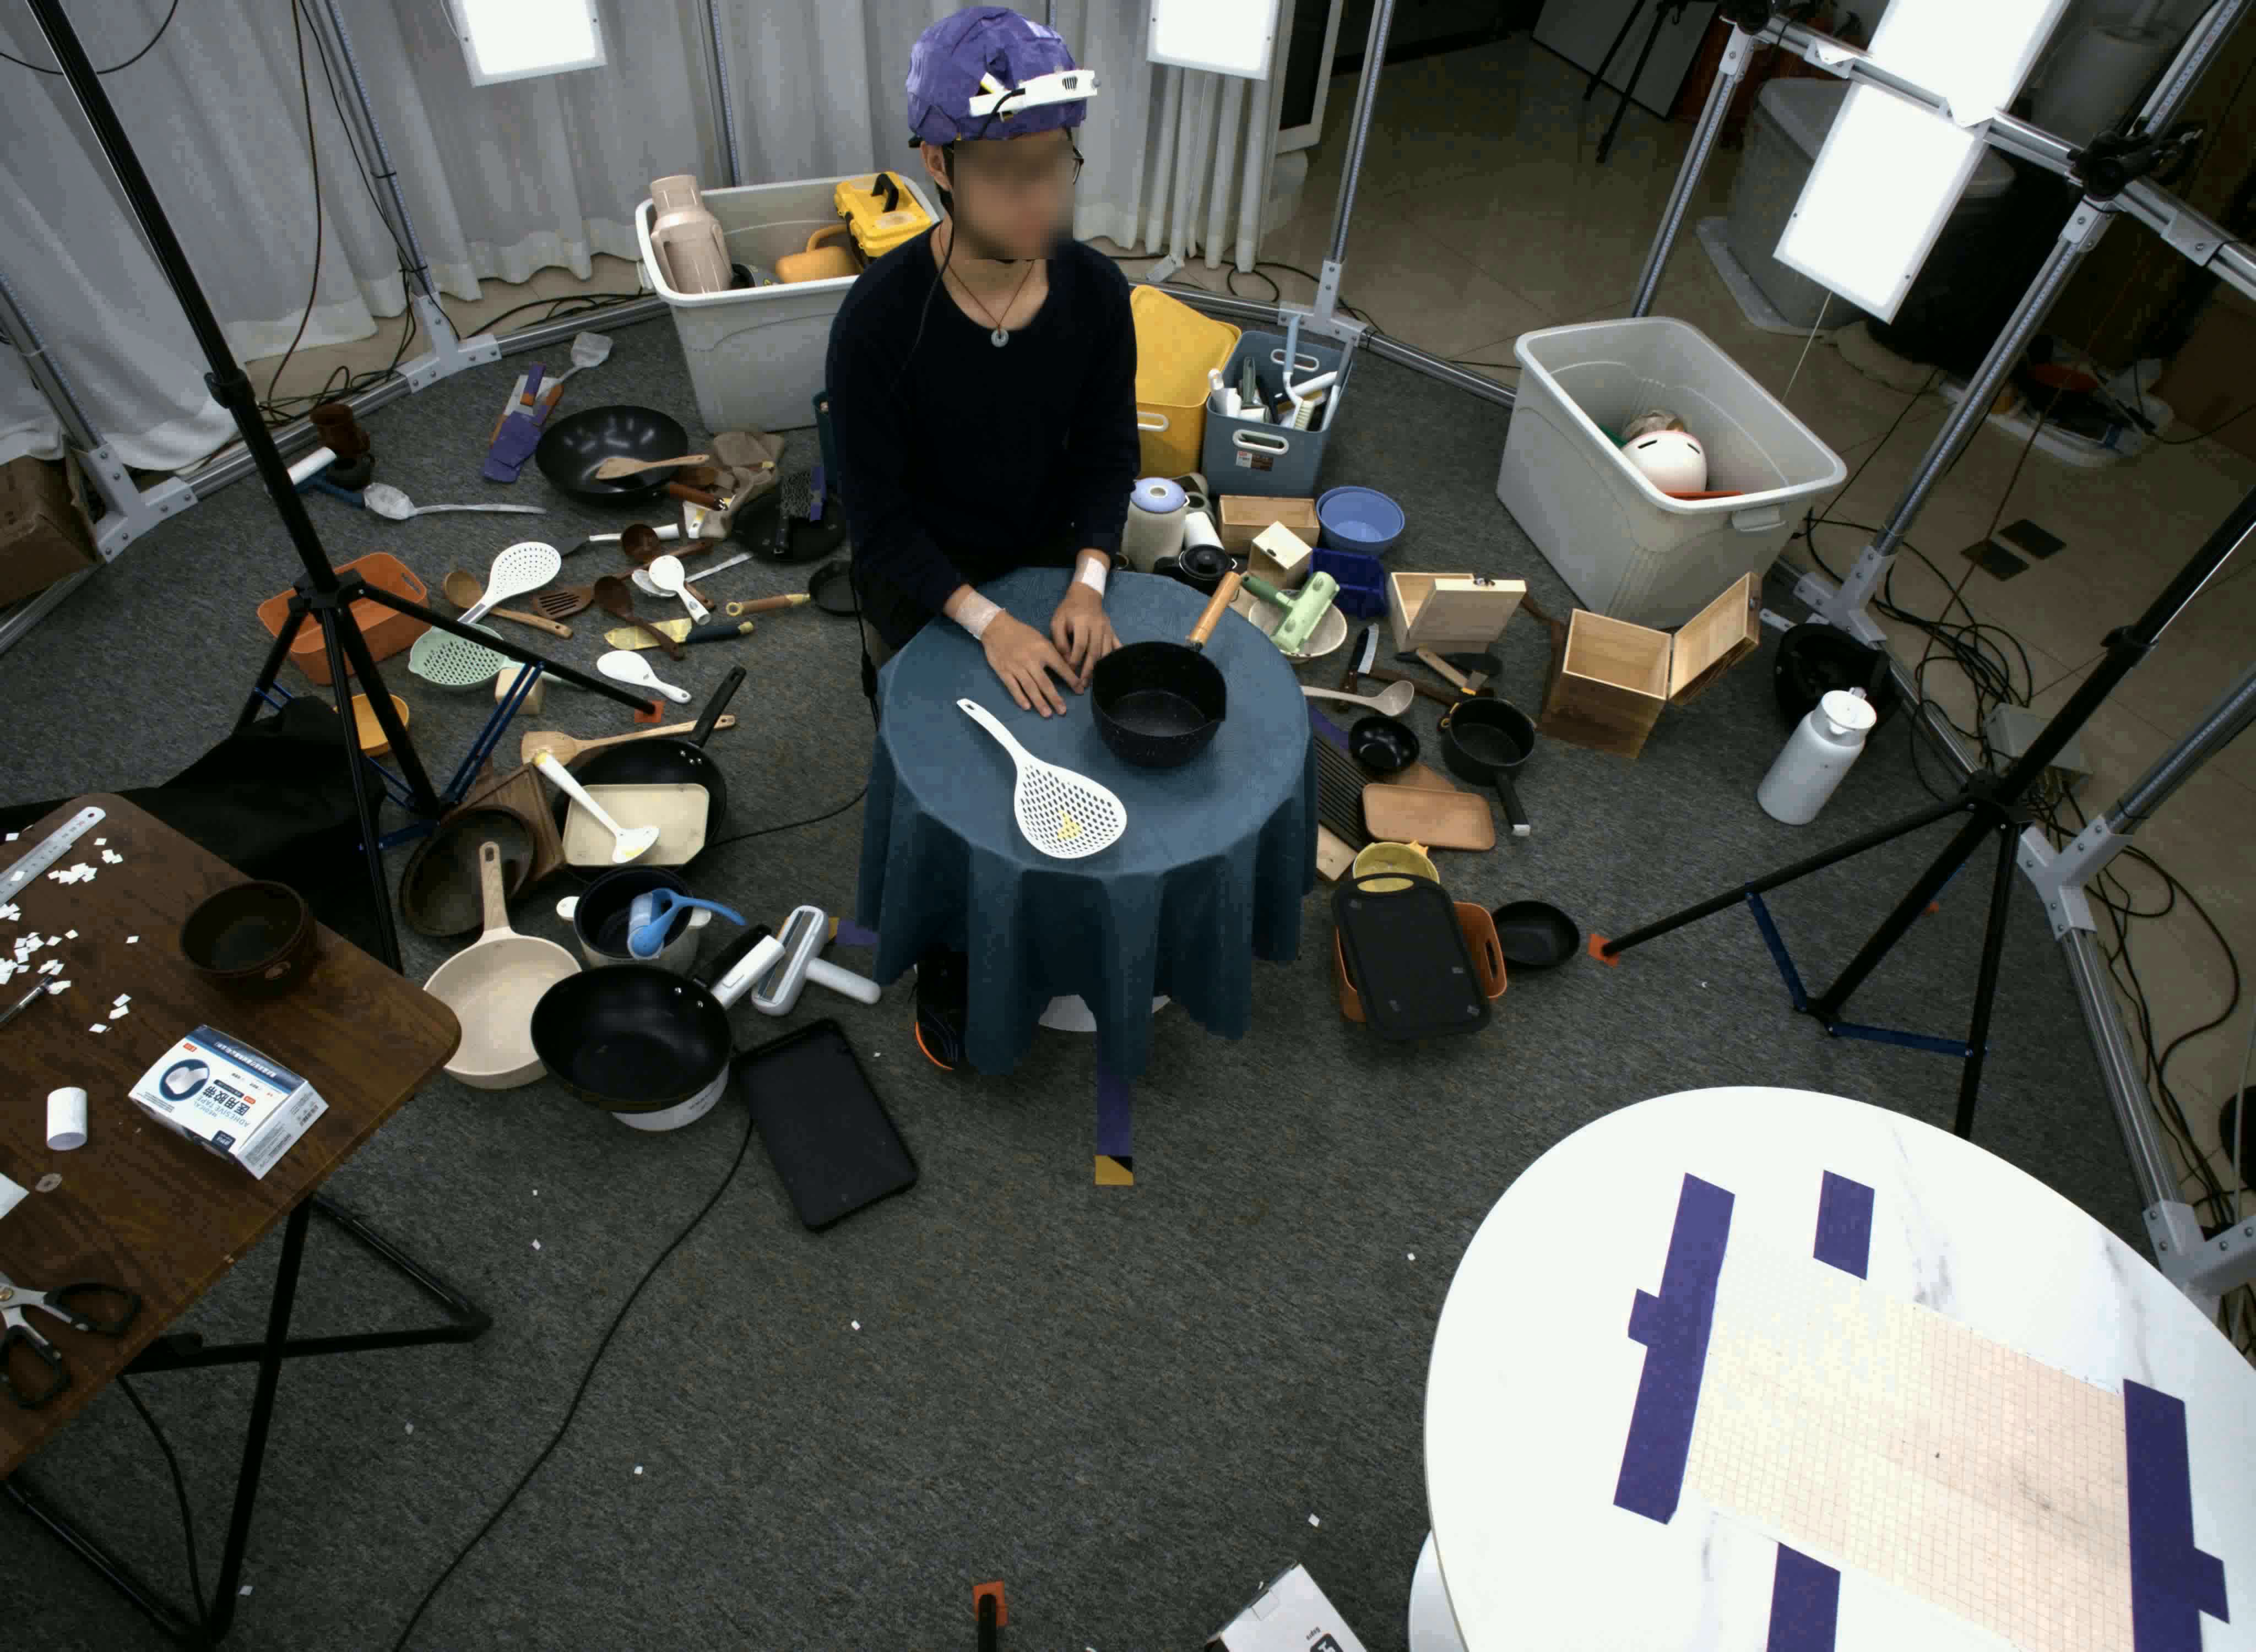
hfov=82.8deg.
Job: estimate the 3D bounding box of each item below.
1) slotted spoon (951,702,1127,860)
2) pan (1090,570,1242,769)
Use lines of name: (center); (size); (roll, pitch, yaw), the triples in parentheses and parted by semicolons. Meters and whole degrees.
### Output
slotted spoon: (-0.135, -0.073, 1.695); (0.137, 0.049, 0.354); (-27, 57, -22)
pan: (0.074, -0.222, 1.797); (0.209, 0.105, 0.349); (21, 52, 15)
